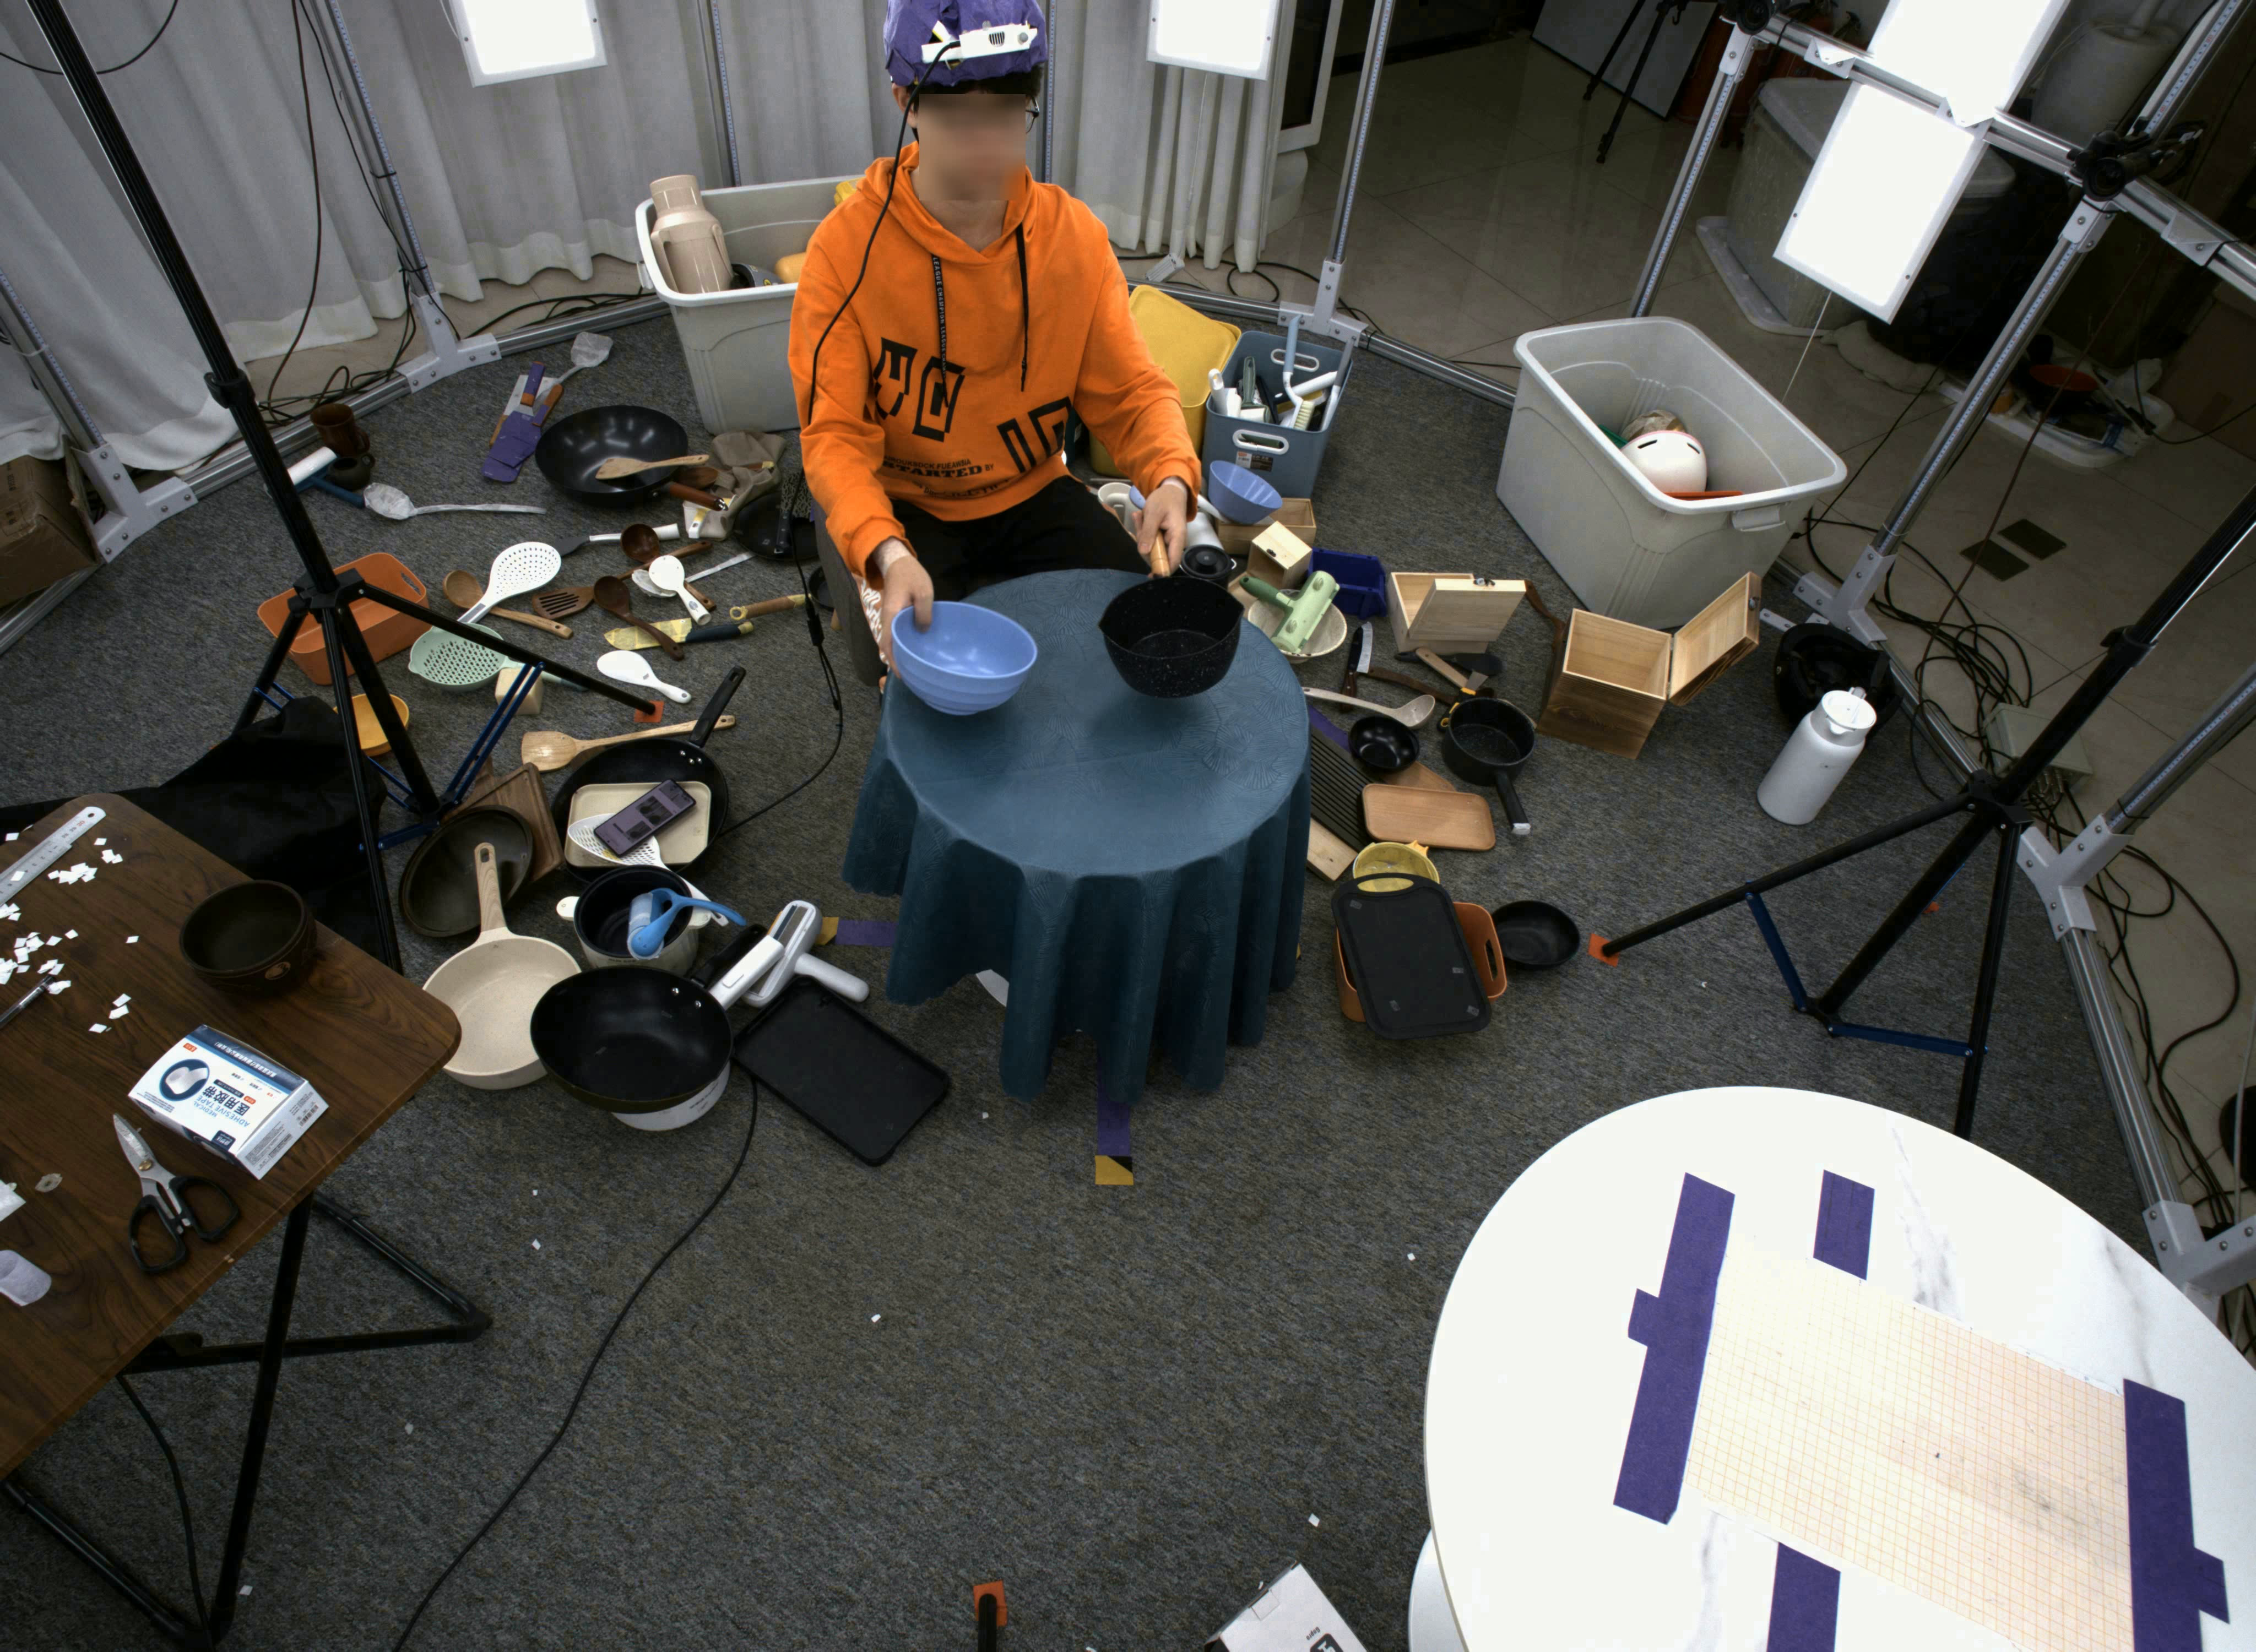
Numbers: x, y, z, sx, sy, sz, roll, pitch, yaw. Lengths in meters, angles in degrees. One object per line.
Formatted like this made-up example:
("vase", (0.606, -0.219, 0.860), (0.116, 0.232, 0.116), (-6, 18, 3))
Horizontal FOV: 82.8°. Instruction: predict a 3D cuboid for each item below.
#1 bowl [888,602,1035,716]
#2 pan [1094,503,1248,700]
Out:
("bowl", (-0.231, -0.213, 1.729), (0.196, 0.093, 0.201), (13, 34, -9))
("pan", (0.052, -0.315, 1.794), (0.207, 0.105, 0.351), (-9, 45, 0))
